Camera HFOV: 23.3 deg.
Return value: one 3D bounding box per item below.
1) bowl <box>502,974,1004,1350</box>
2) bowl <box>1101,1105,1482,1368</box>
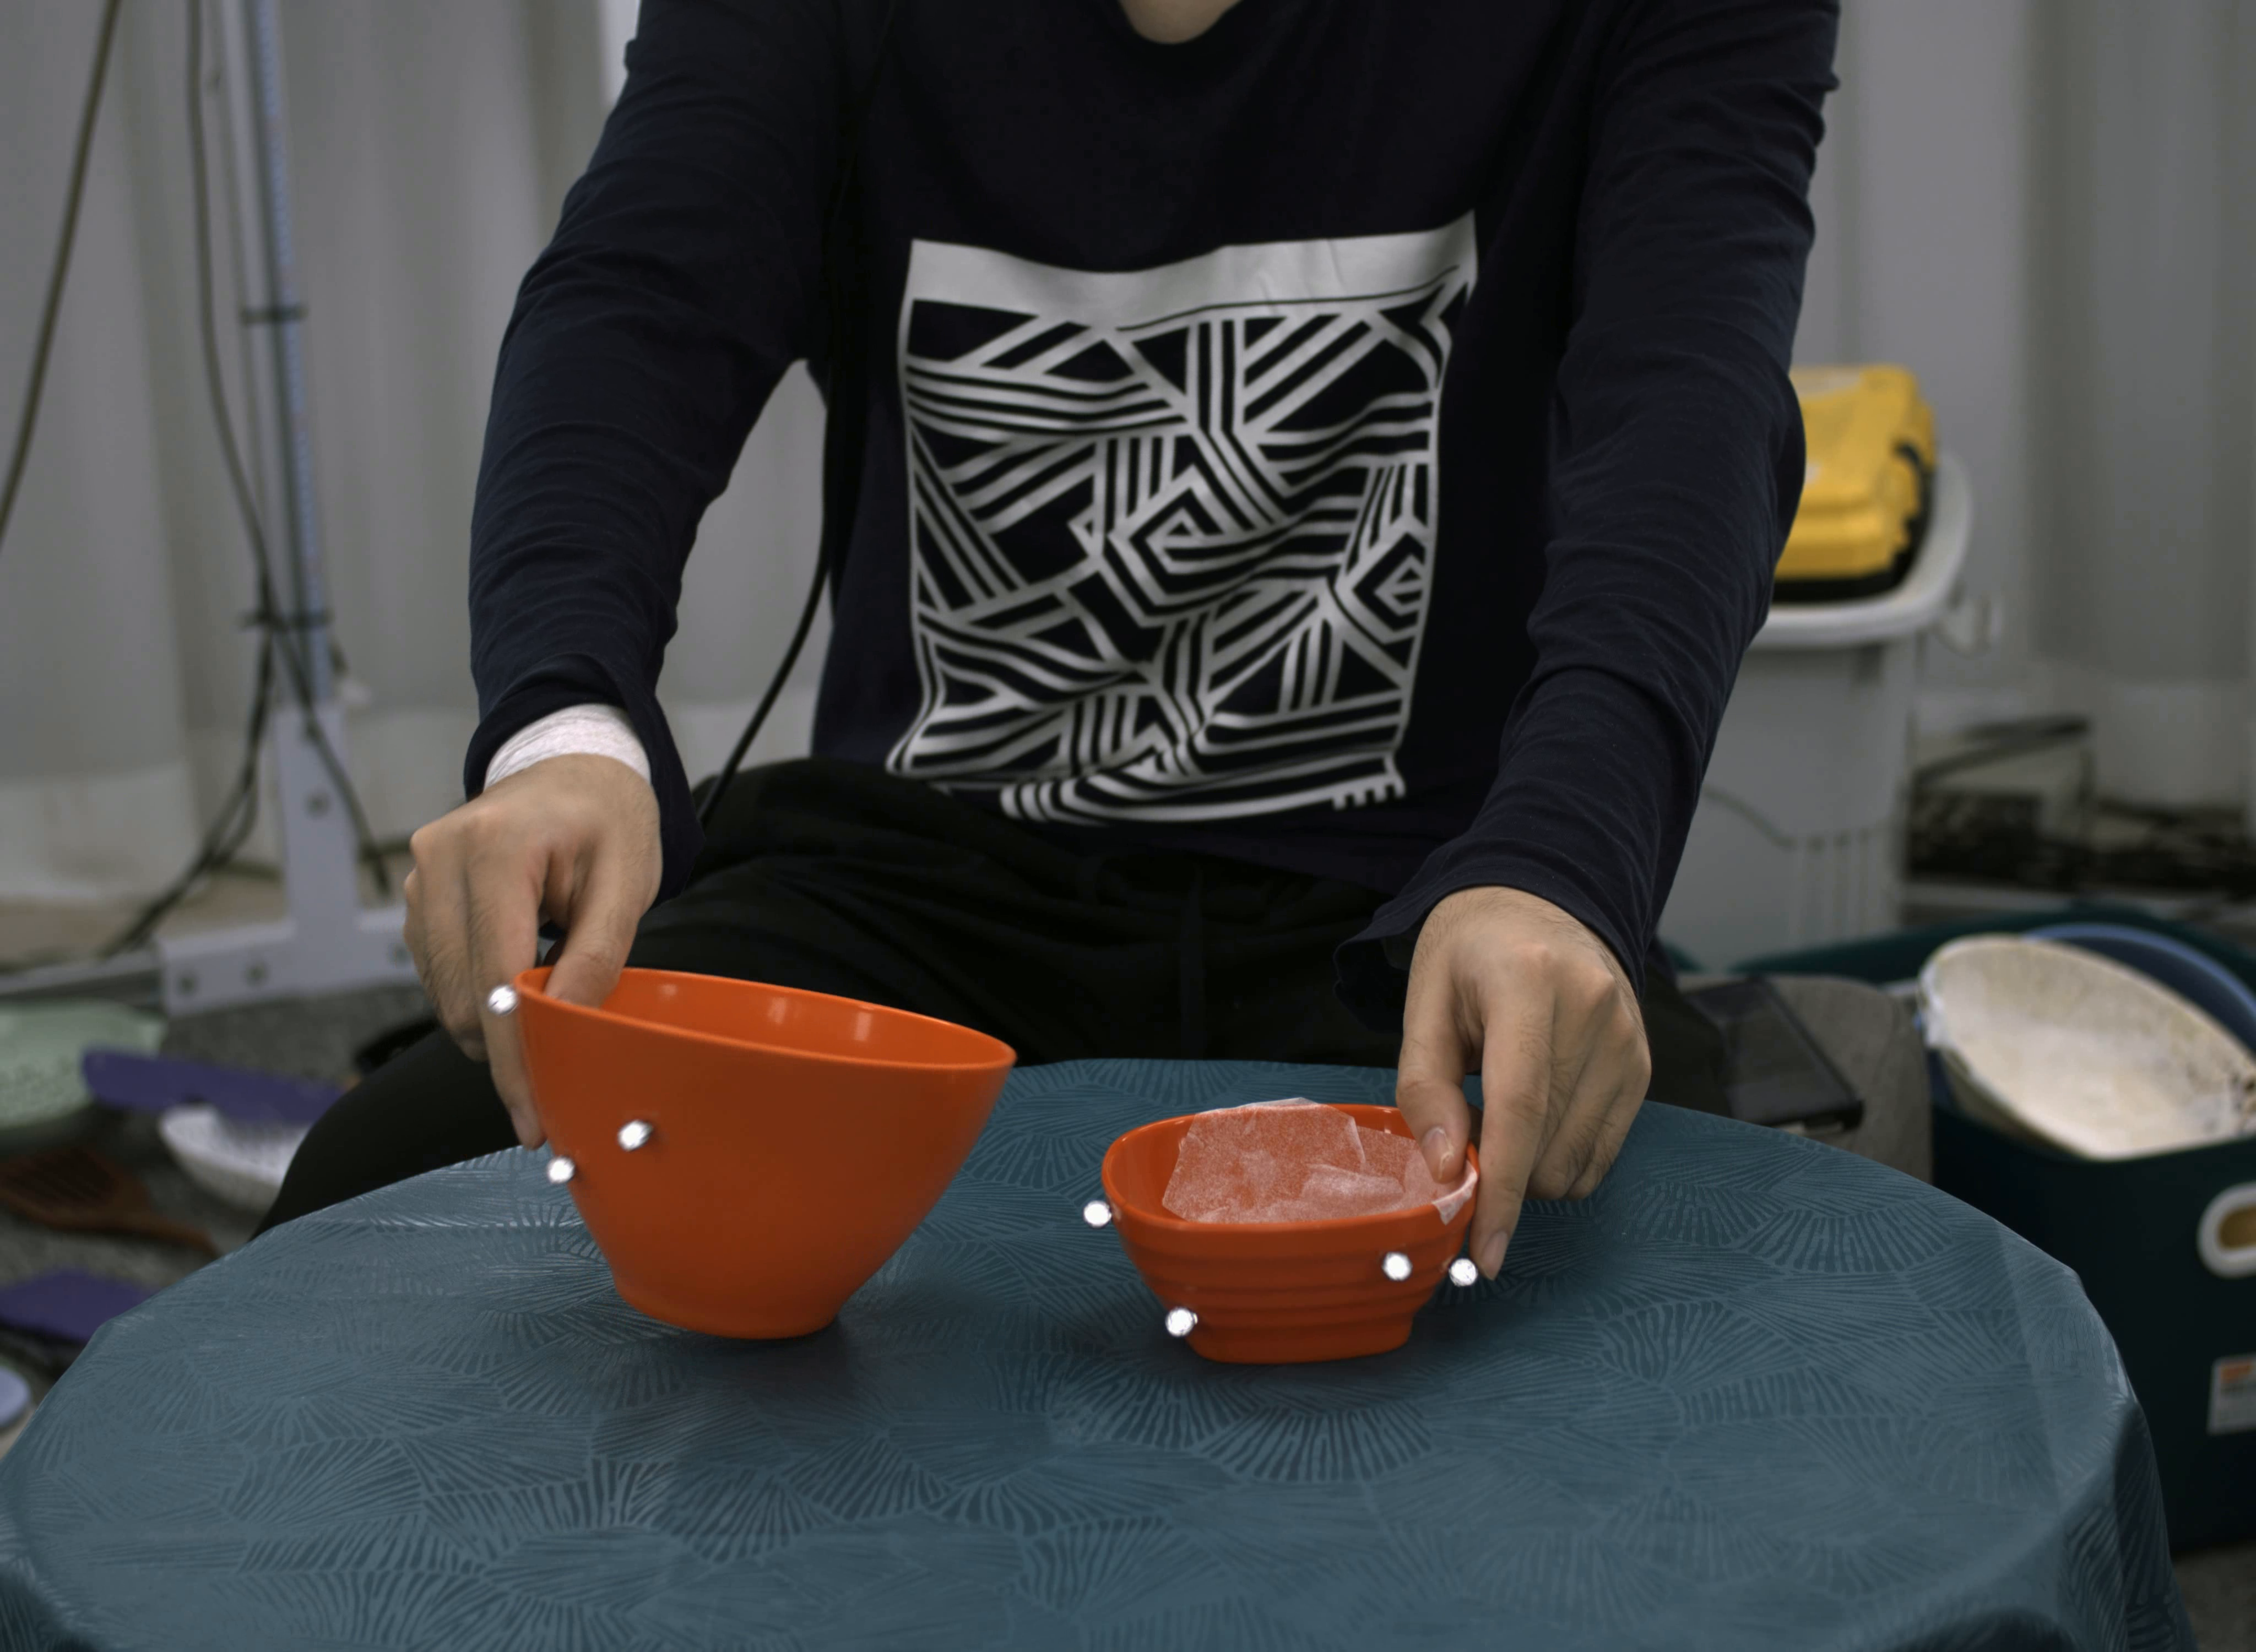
[{"bbox_3d":[-0.114,0.096,1.595,0.147,0.104,0.149,8,13,-2],"label":"bowl"},{"bbox_3d":[0.049,0.121,1.587,0.118,0.051,0.119,-5,14,1],"label":"bowl"}]
